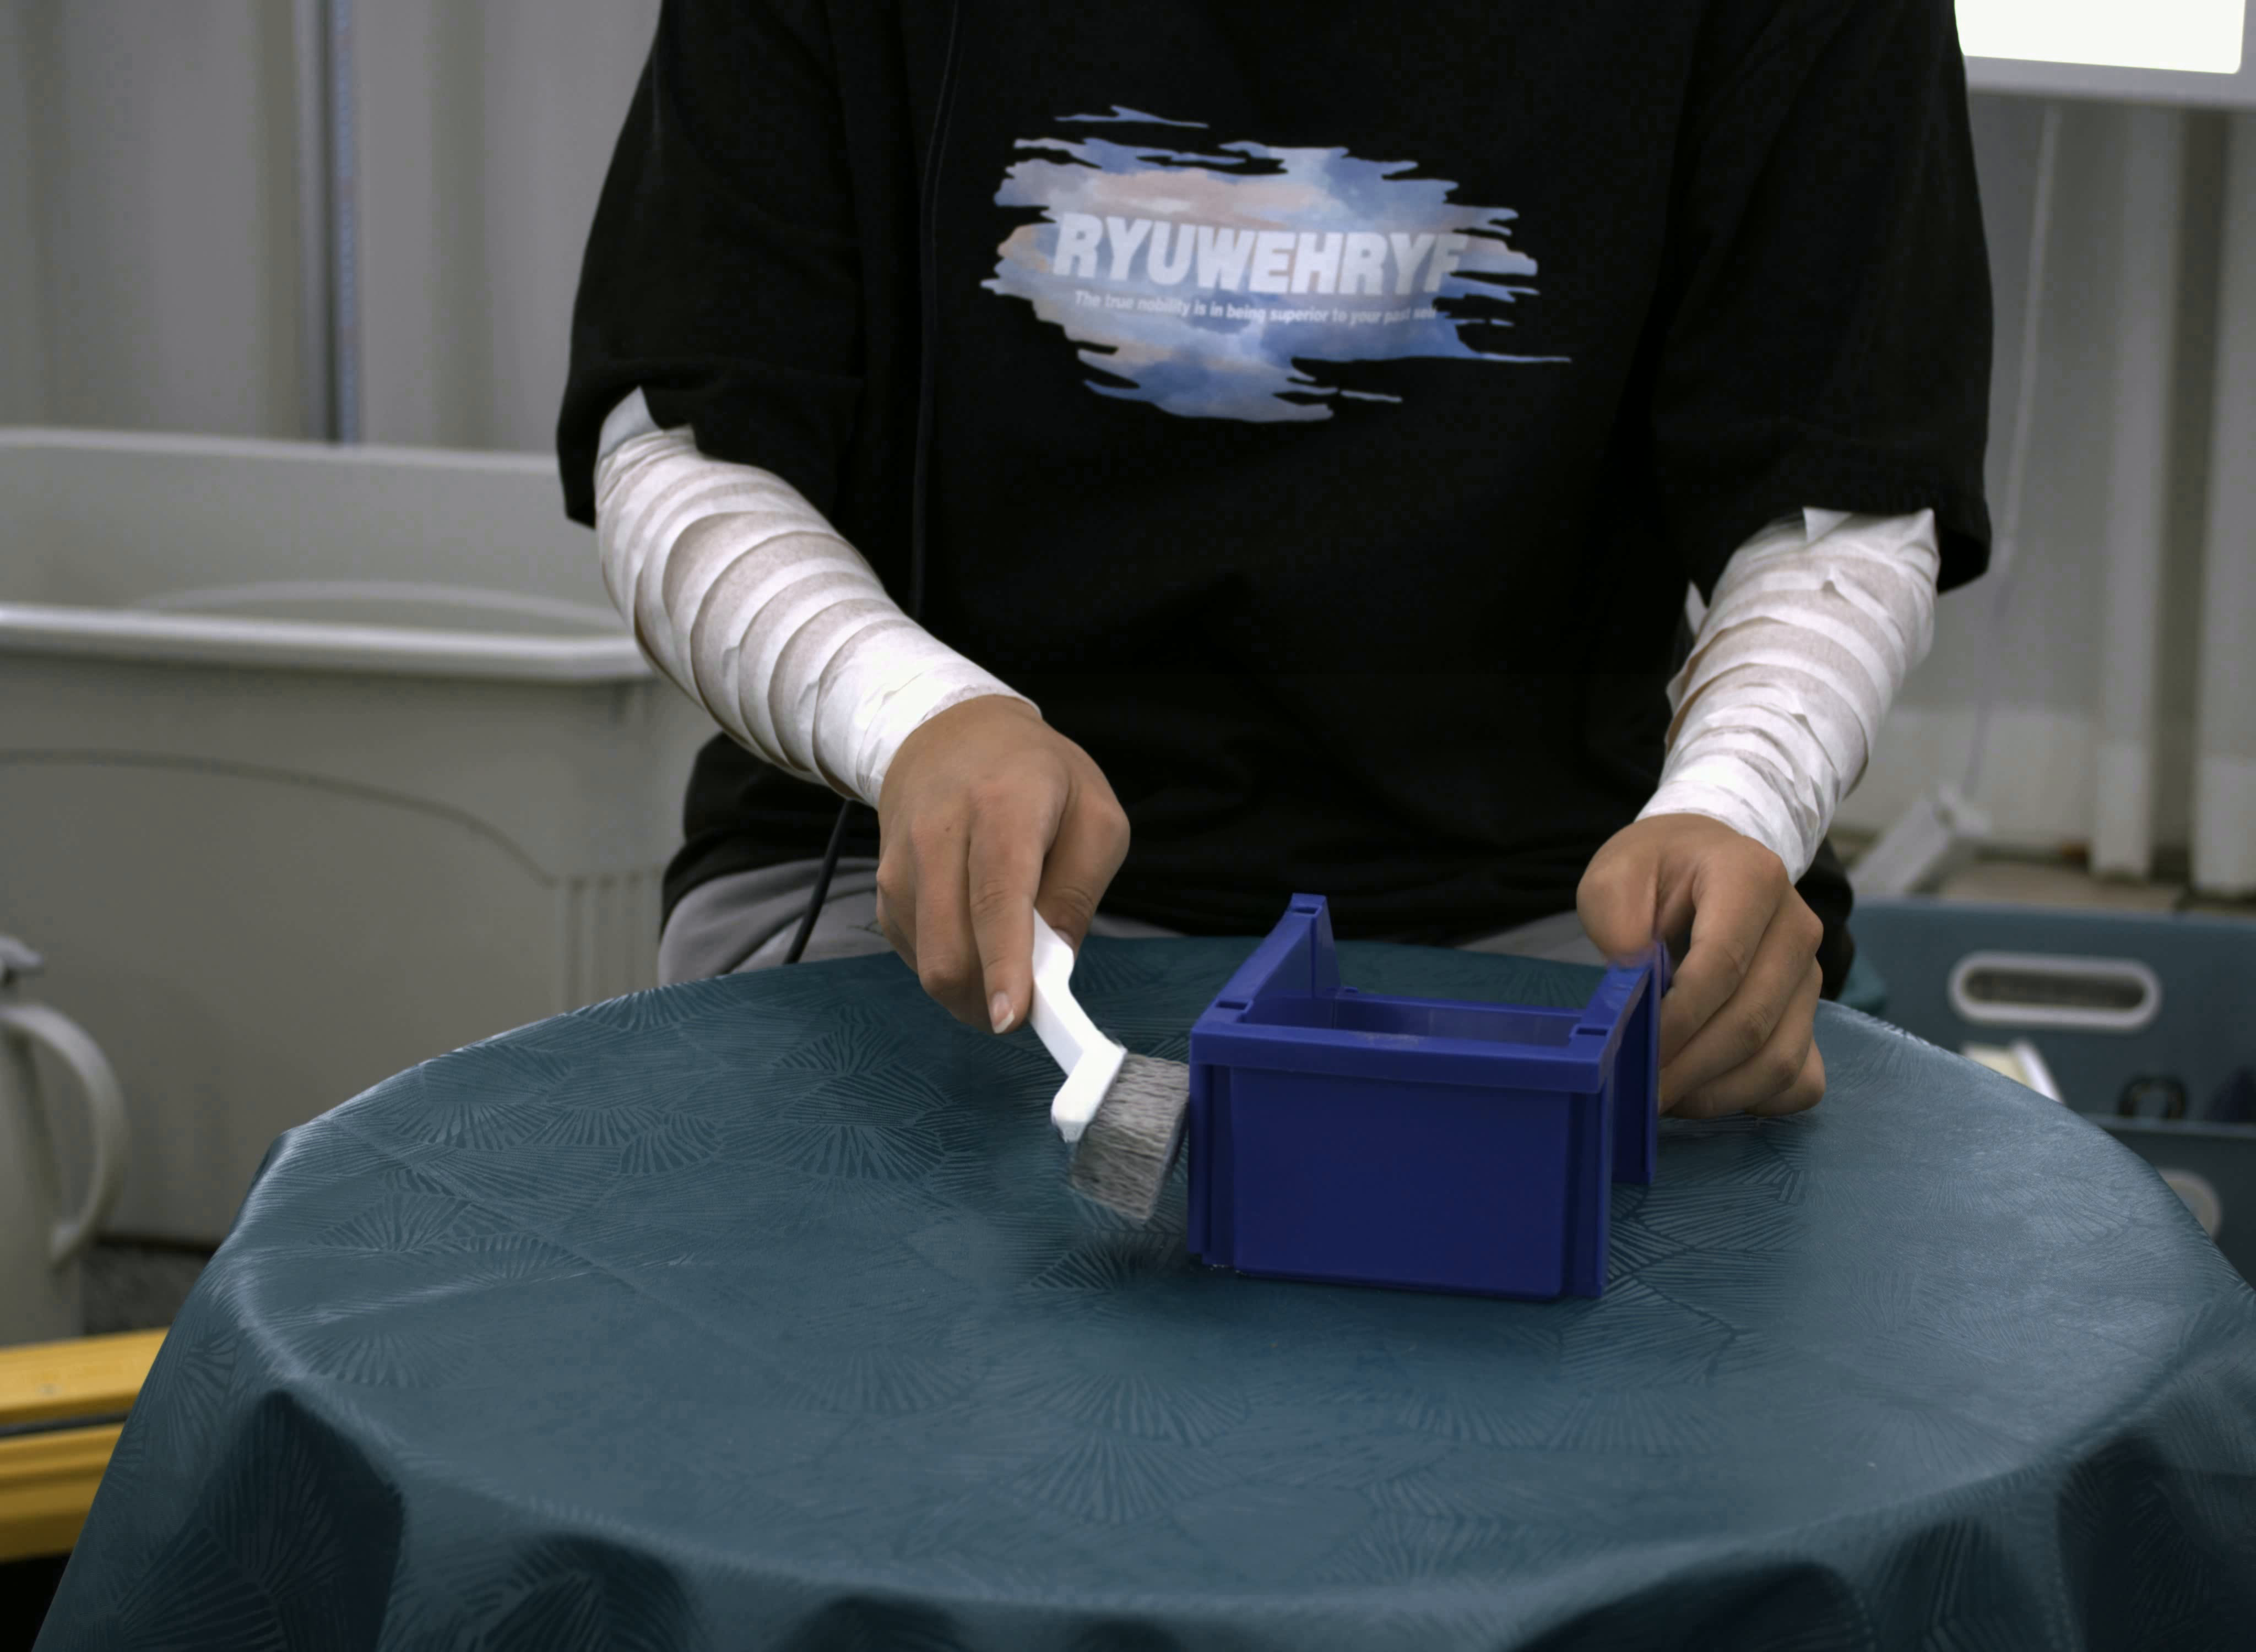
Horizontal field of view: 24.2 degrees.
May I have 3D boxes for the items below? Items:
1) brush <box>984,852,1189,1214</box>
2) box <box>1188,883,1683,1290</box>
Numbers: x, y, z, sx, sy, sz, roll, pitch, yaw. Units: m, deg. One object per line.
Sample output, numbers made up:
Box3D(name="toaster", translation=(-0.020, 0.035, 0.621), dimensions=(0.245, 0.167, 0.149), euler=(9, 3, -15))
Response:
Box3D(name="brush", translation=(-0.014, 0.060, 1.632), dimensions=(0.050, 0.034, 0.242), euler=(13, 17, -9))
Box3D(name="box", translation=(0.095, 0.075, 1.610), dimensions=(0.123, 0.082, 0.179), euler=(4, 17, 14))
